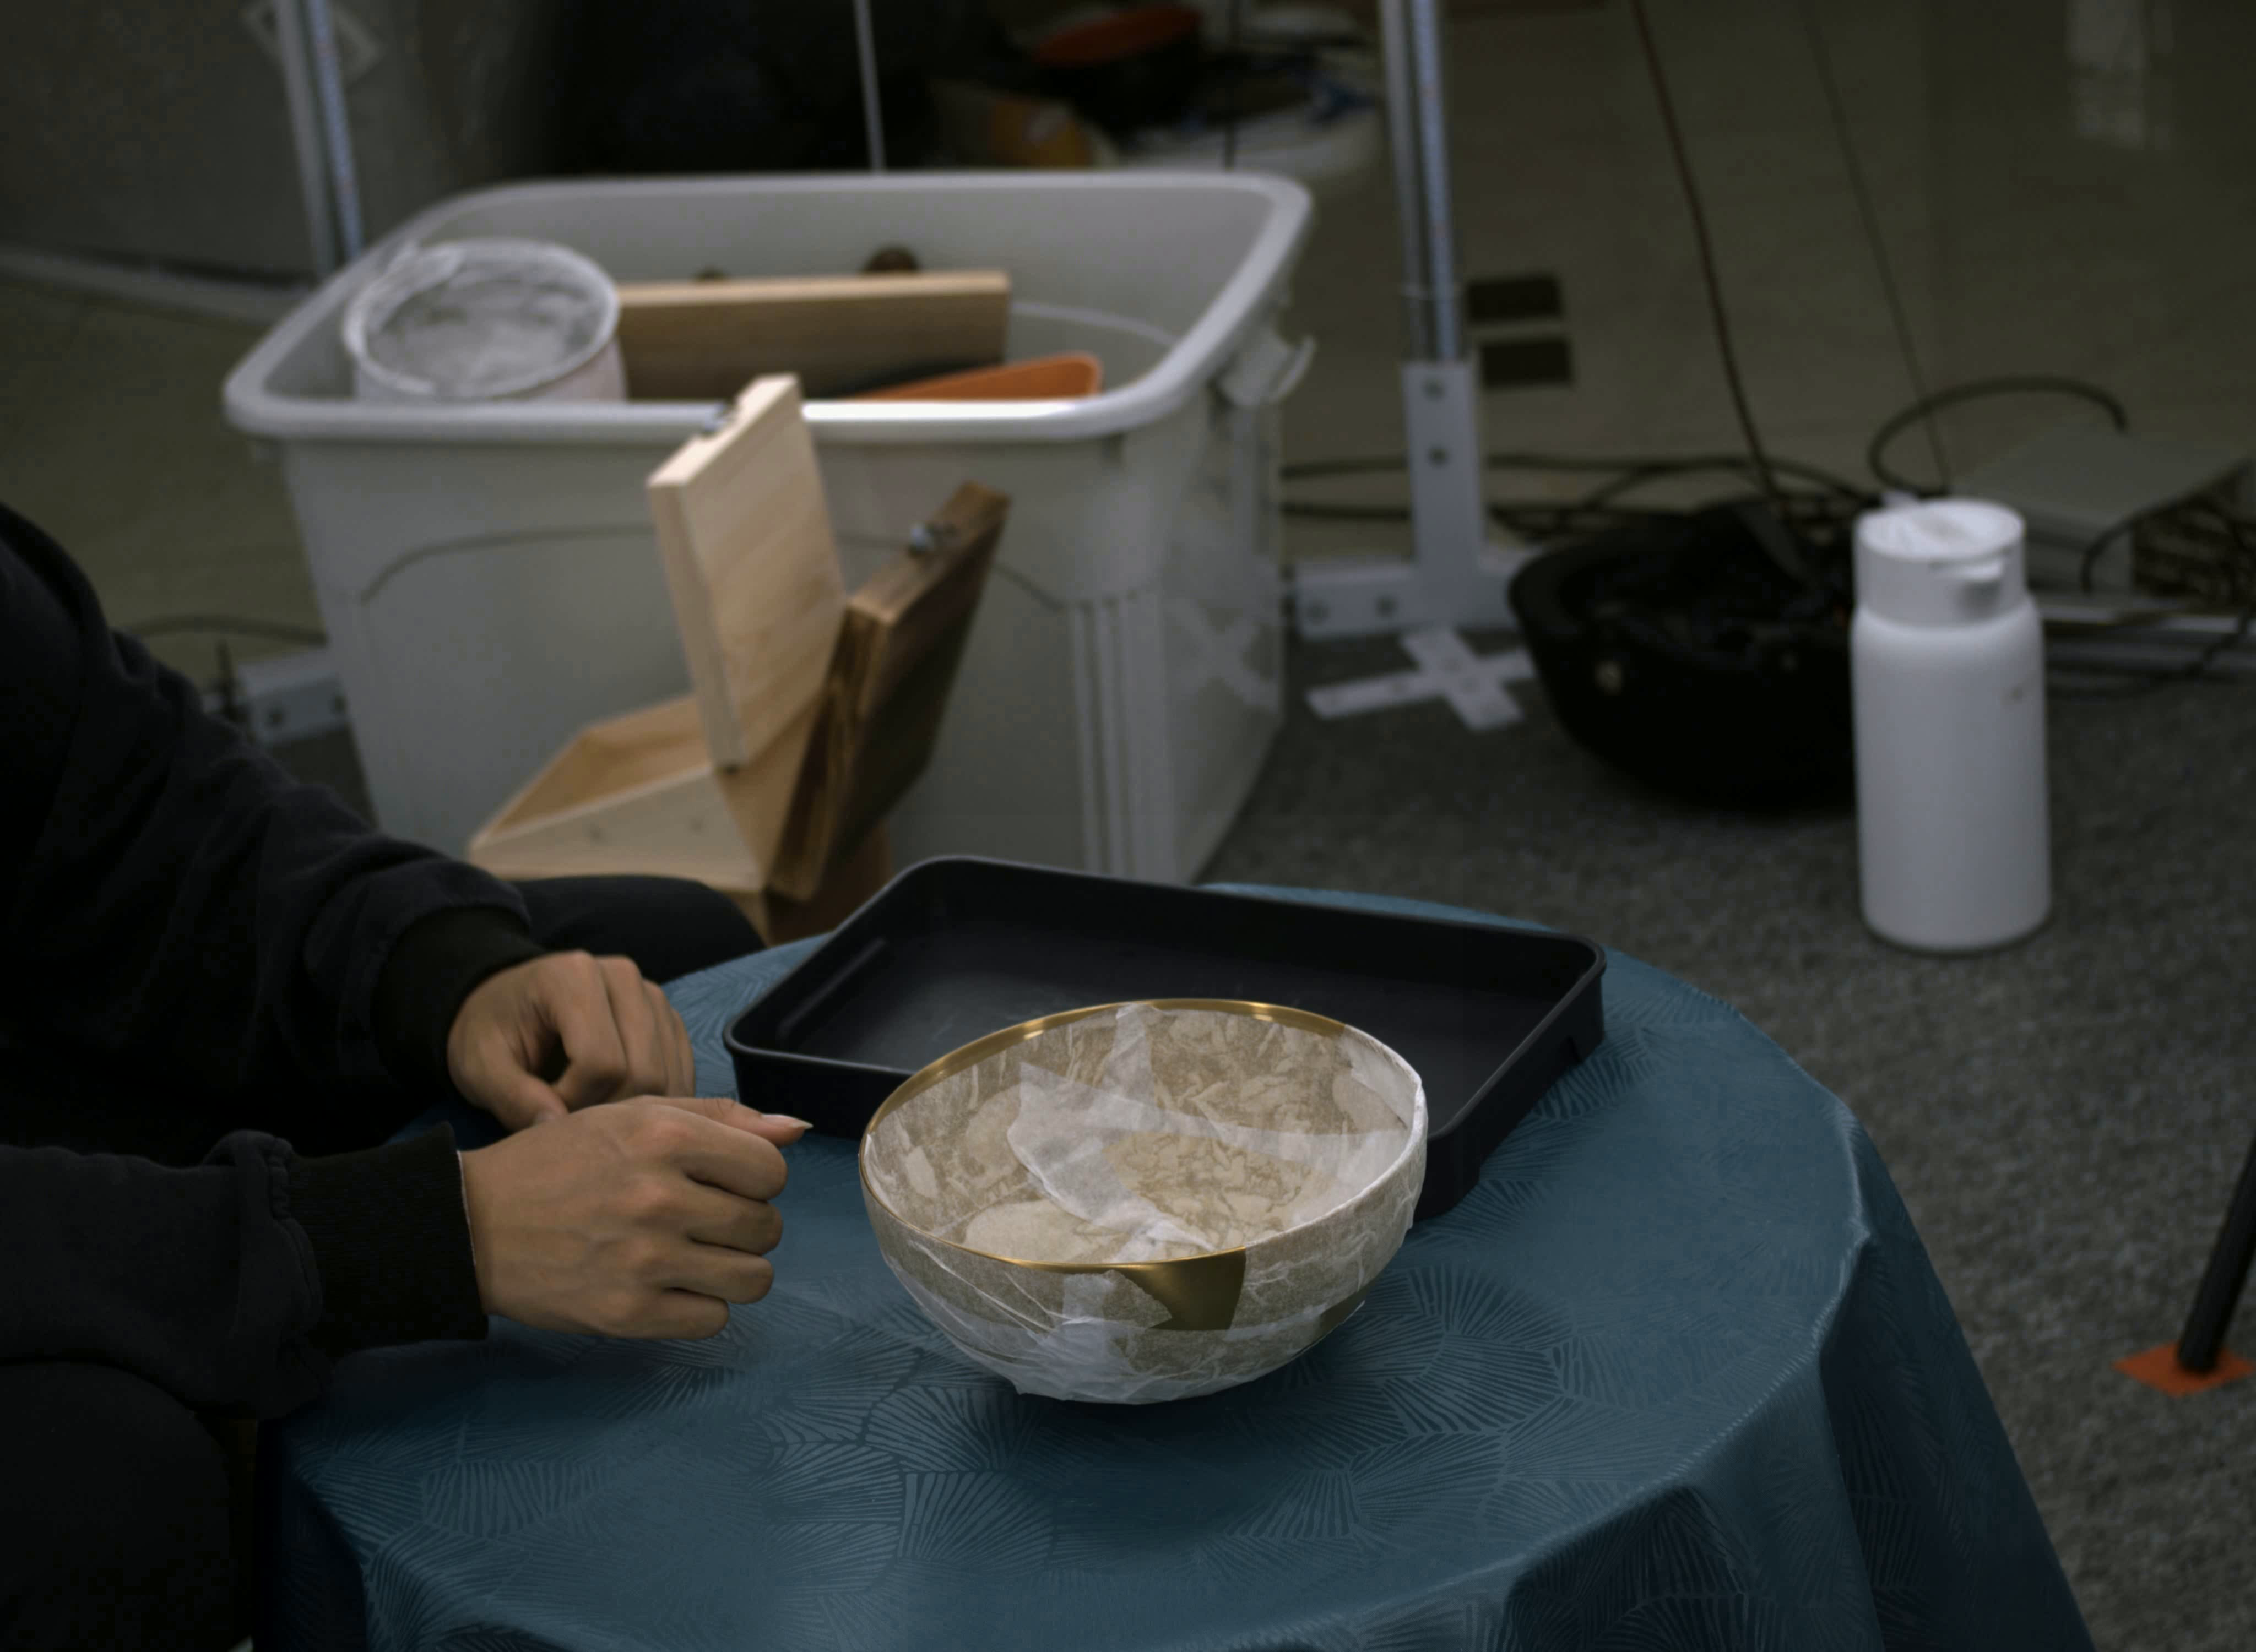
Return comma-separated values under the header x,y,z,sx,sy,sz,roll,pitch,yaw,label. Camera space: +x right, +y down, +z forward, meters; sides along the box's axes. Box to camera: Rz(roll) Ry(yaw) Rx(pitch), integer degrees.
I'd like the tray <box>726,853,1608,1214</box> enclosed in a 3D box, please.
x,y,z,sx,sy,sz,roll,pitch,yaw,label
0.016,0.078,2.229,0.317,0.037,0.182,6,29,29,tray

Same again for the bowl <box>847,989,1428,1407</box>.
x,y,z,sx,sy,sz,roll,pitch,yaw,label
0.006,0.145,2.027,0.214,0.096,0.211,-6,26,3,bowl
